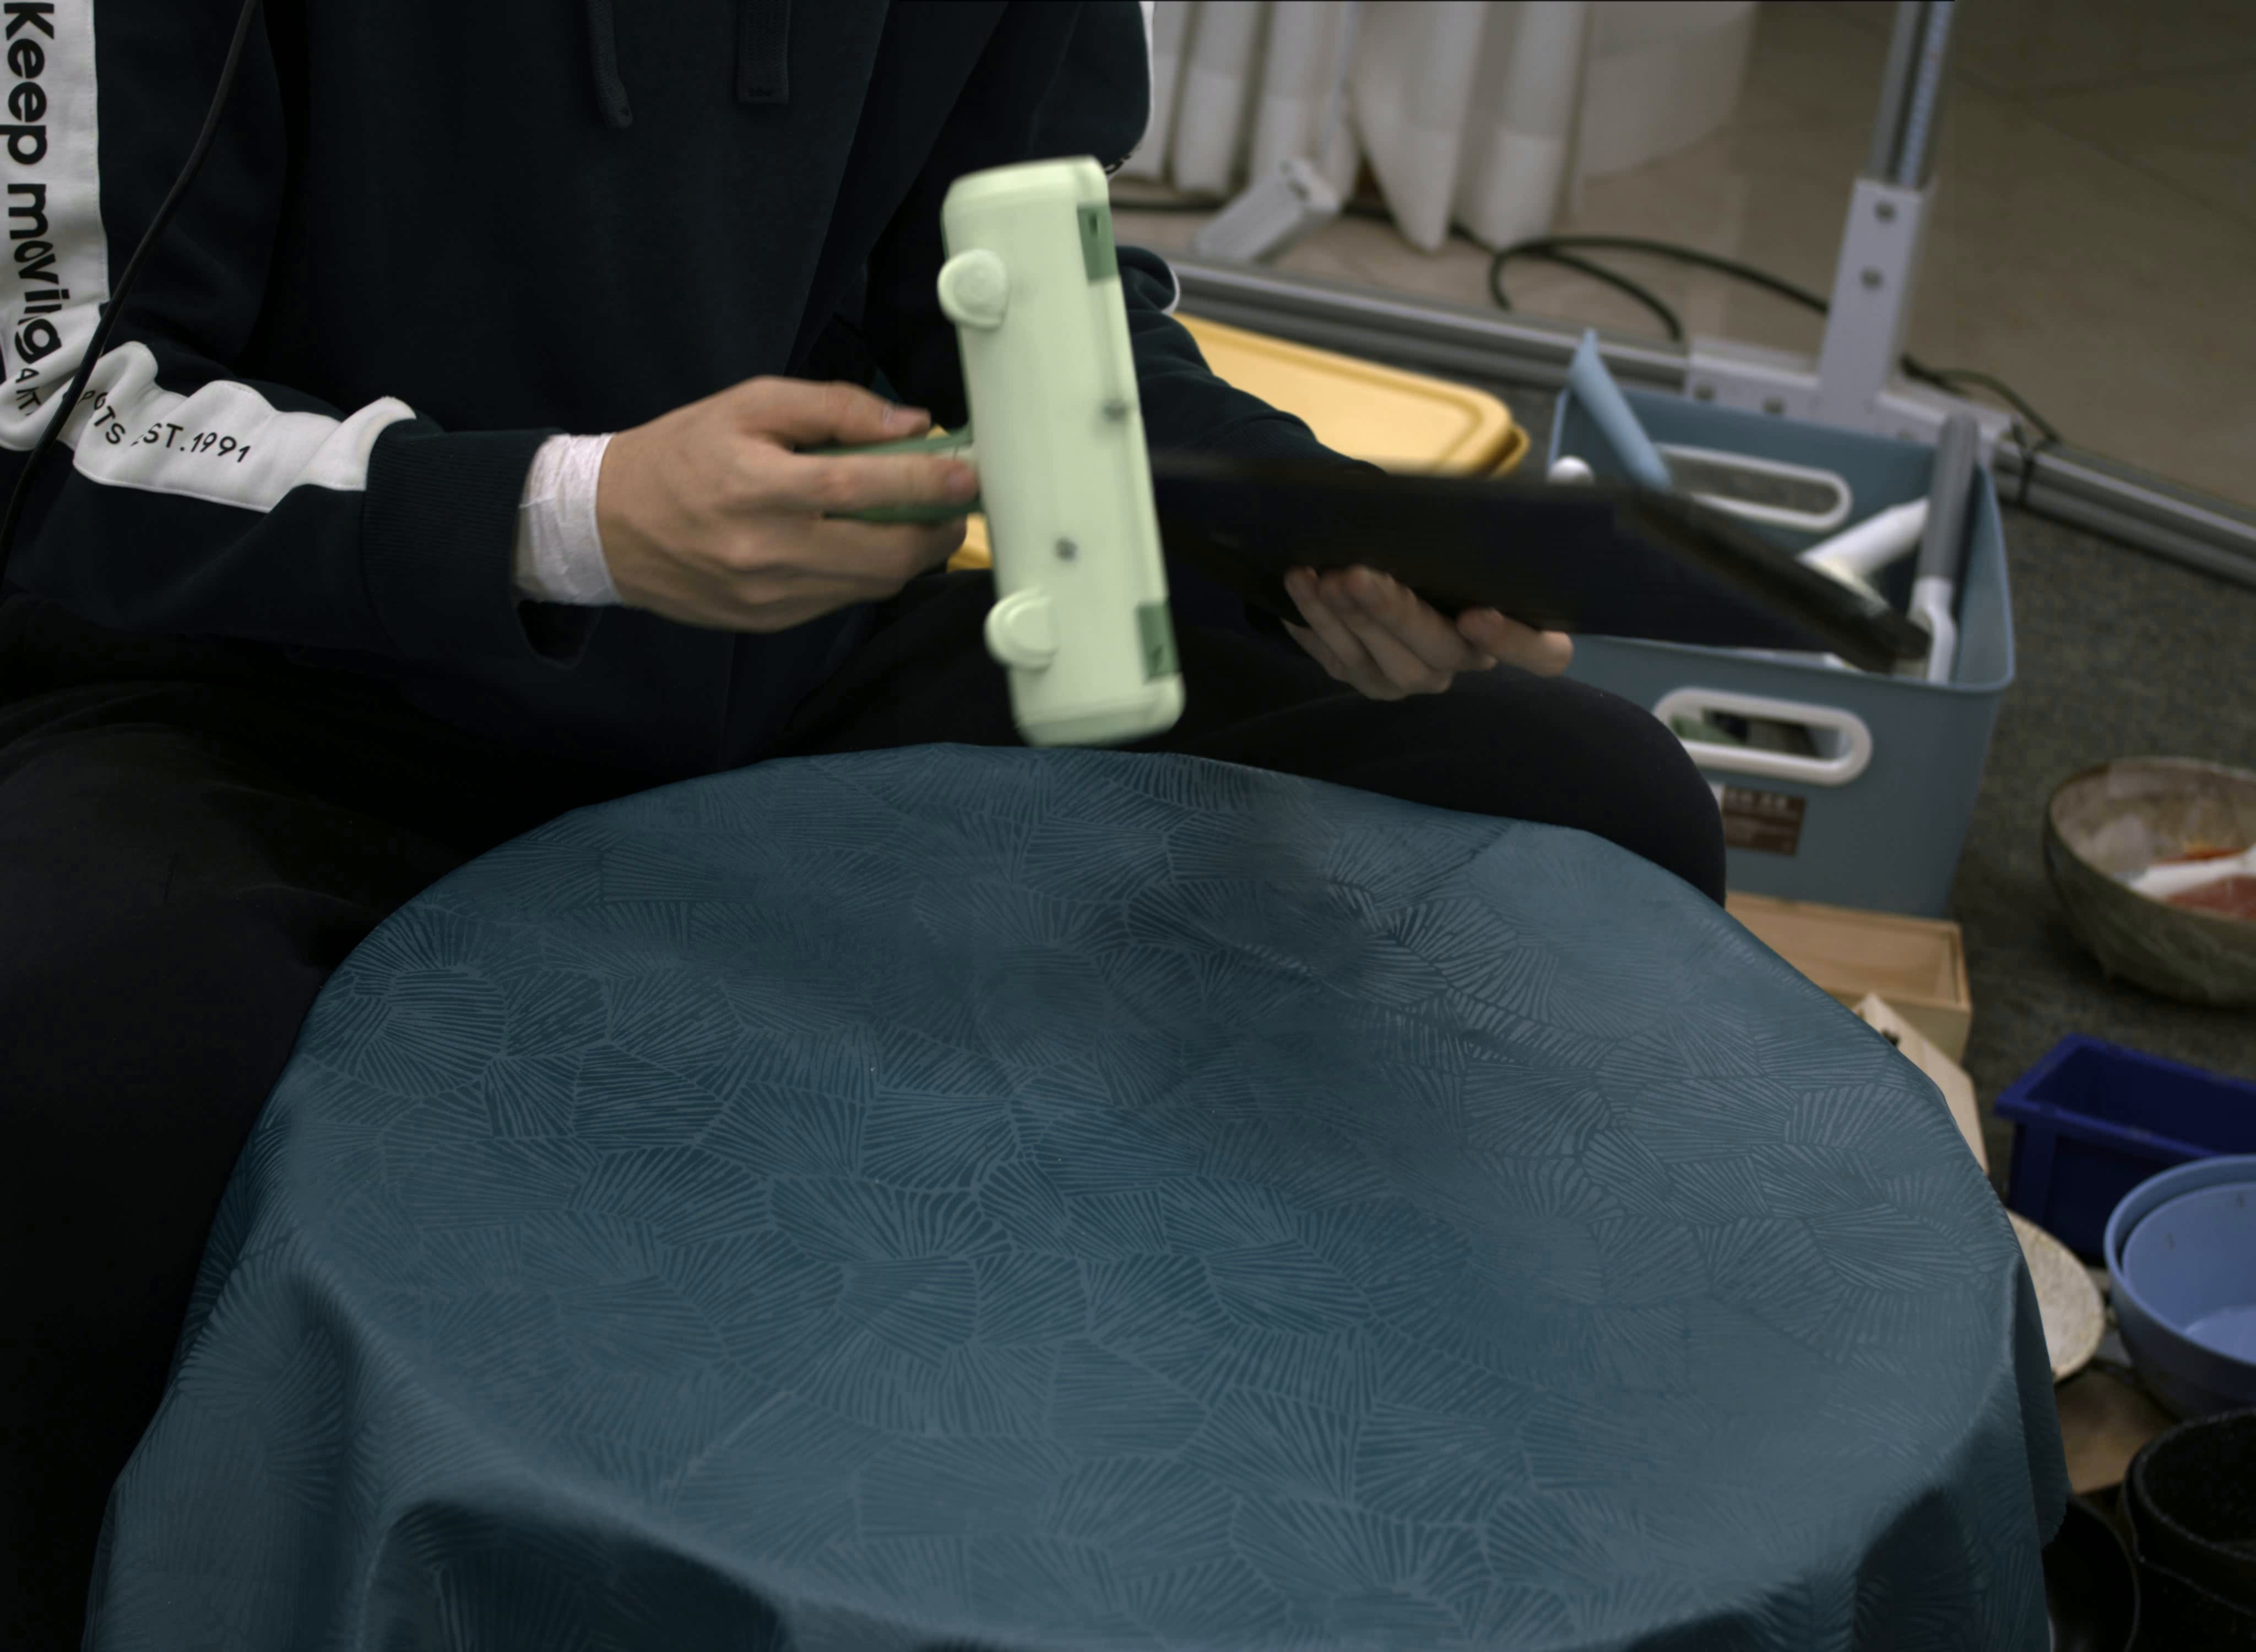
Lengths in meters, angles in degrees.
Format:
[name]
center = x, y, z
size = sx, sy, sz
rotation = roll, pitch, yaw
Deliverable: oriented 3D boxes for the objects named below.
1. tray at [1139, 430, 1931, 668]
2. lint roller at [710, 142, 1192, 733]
[tray]
center = 0.116, -0.098, 1.871
size = 0.307, 0.019, 0.168
rotation = 5, -16, 44
[lint roller]
center = -0.076, -0.122, 1.829
size = 0.183, 0.199, 0.082
rotation = -10, 2, 23
